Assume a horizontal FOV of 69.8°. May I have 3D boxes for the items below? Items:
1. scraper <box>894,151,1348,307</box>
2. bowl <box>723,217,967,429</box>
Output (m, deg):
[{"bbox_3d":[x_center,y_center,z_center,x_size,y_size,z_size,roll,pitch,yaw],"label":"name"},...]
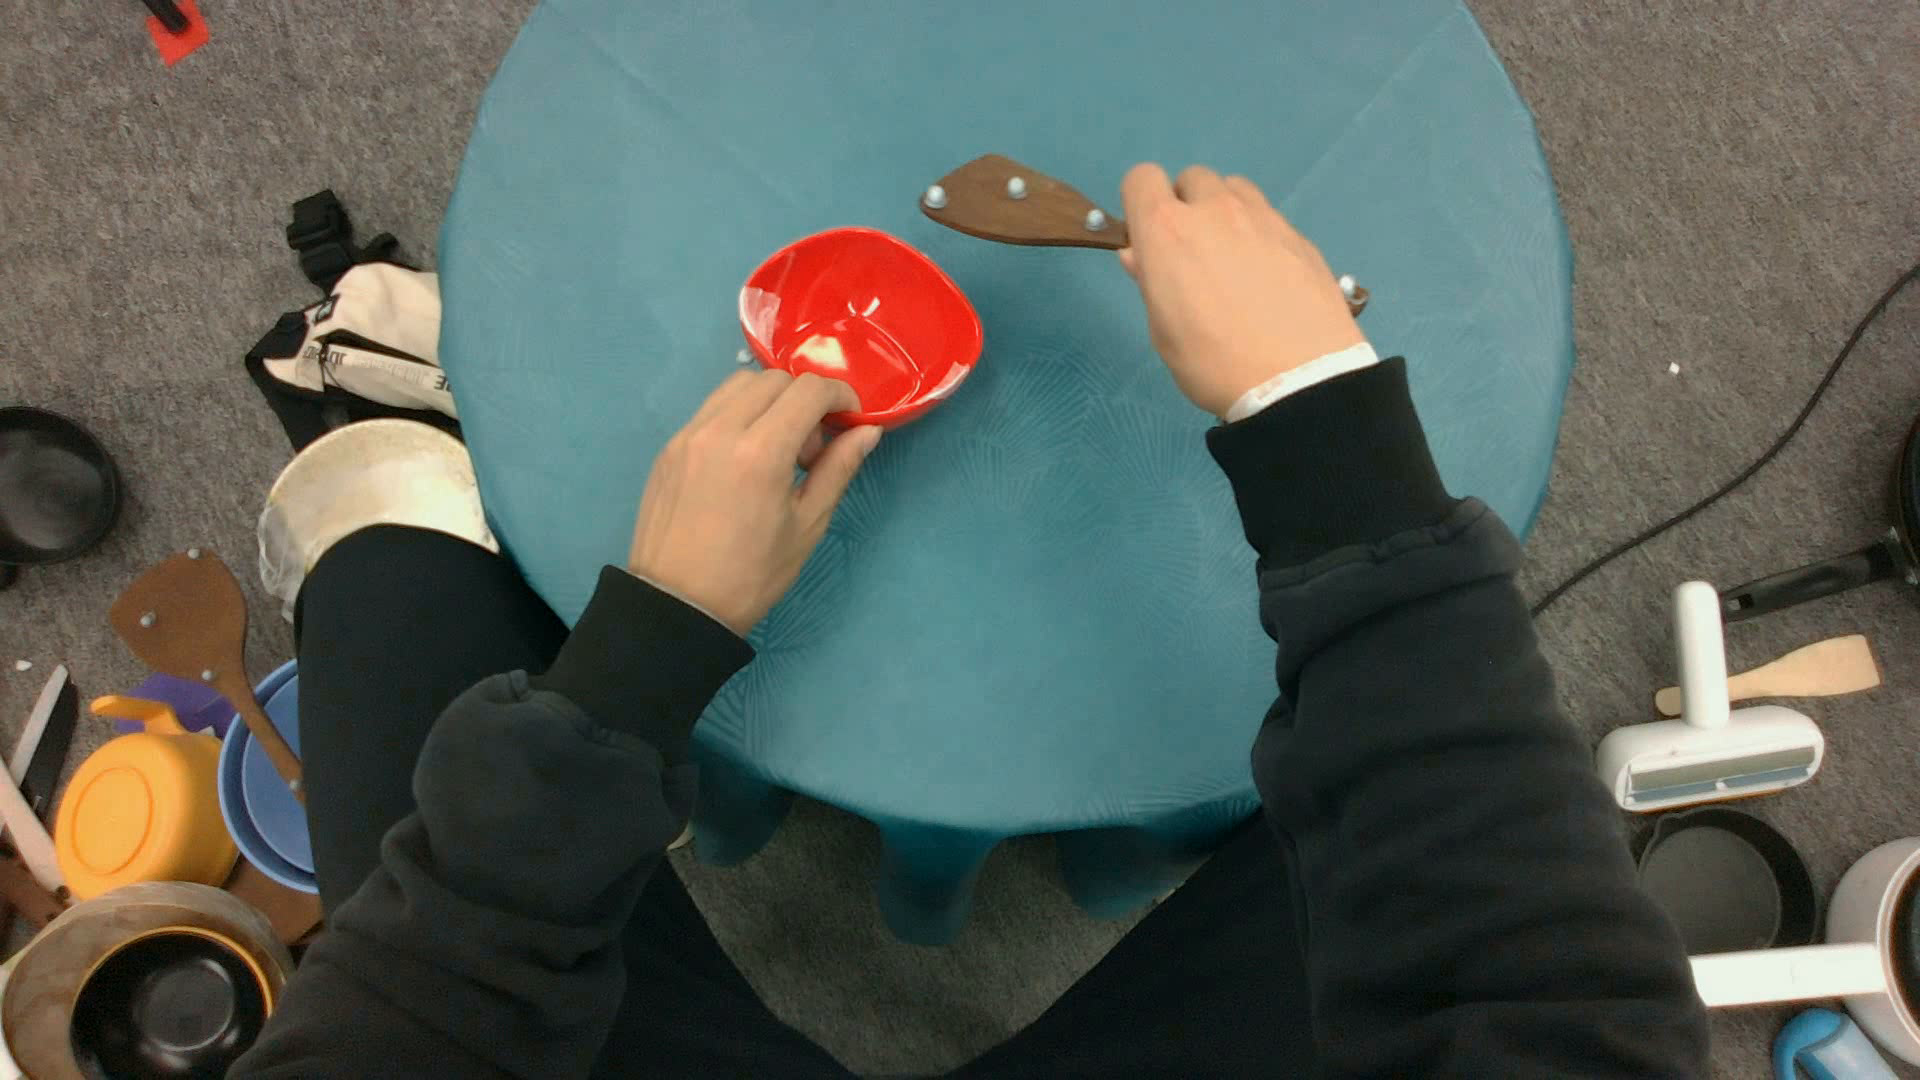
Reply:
[{"bbox_3d":[0.071,-0.139,0.618,0.211,0.011,0.076,22,38,23],"label":"scraper"},{"bbox_3d":[-0.060,-0.099,0.681,0.119,0.051,0.119,8,55,-12],"label":"bowl"}]
